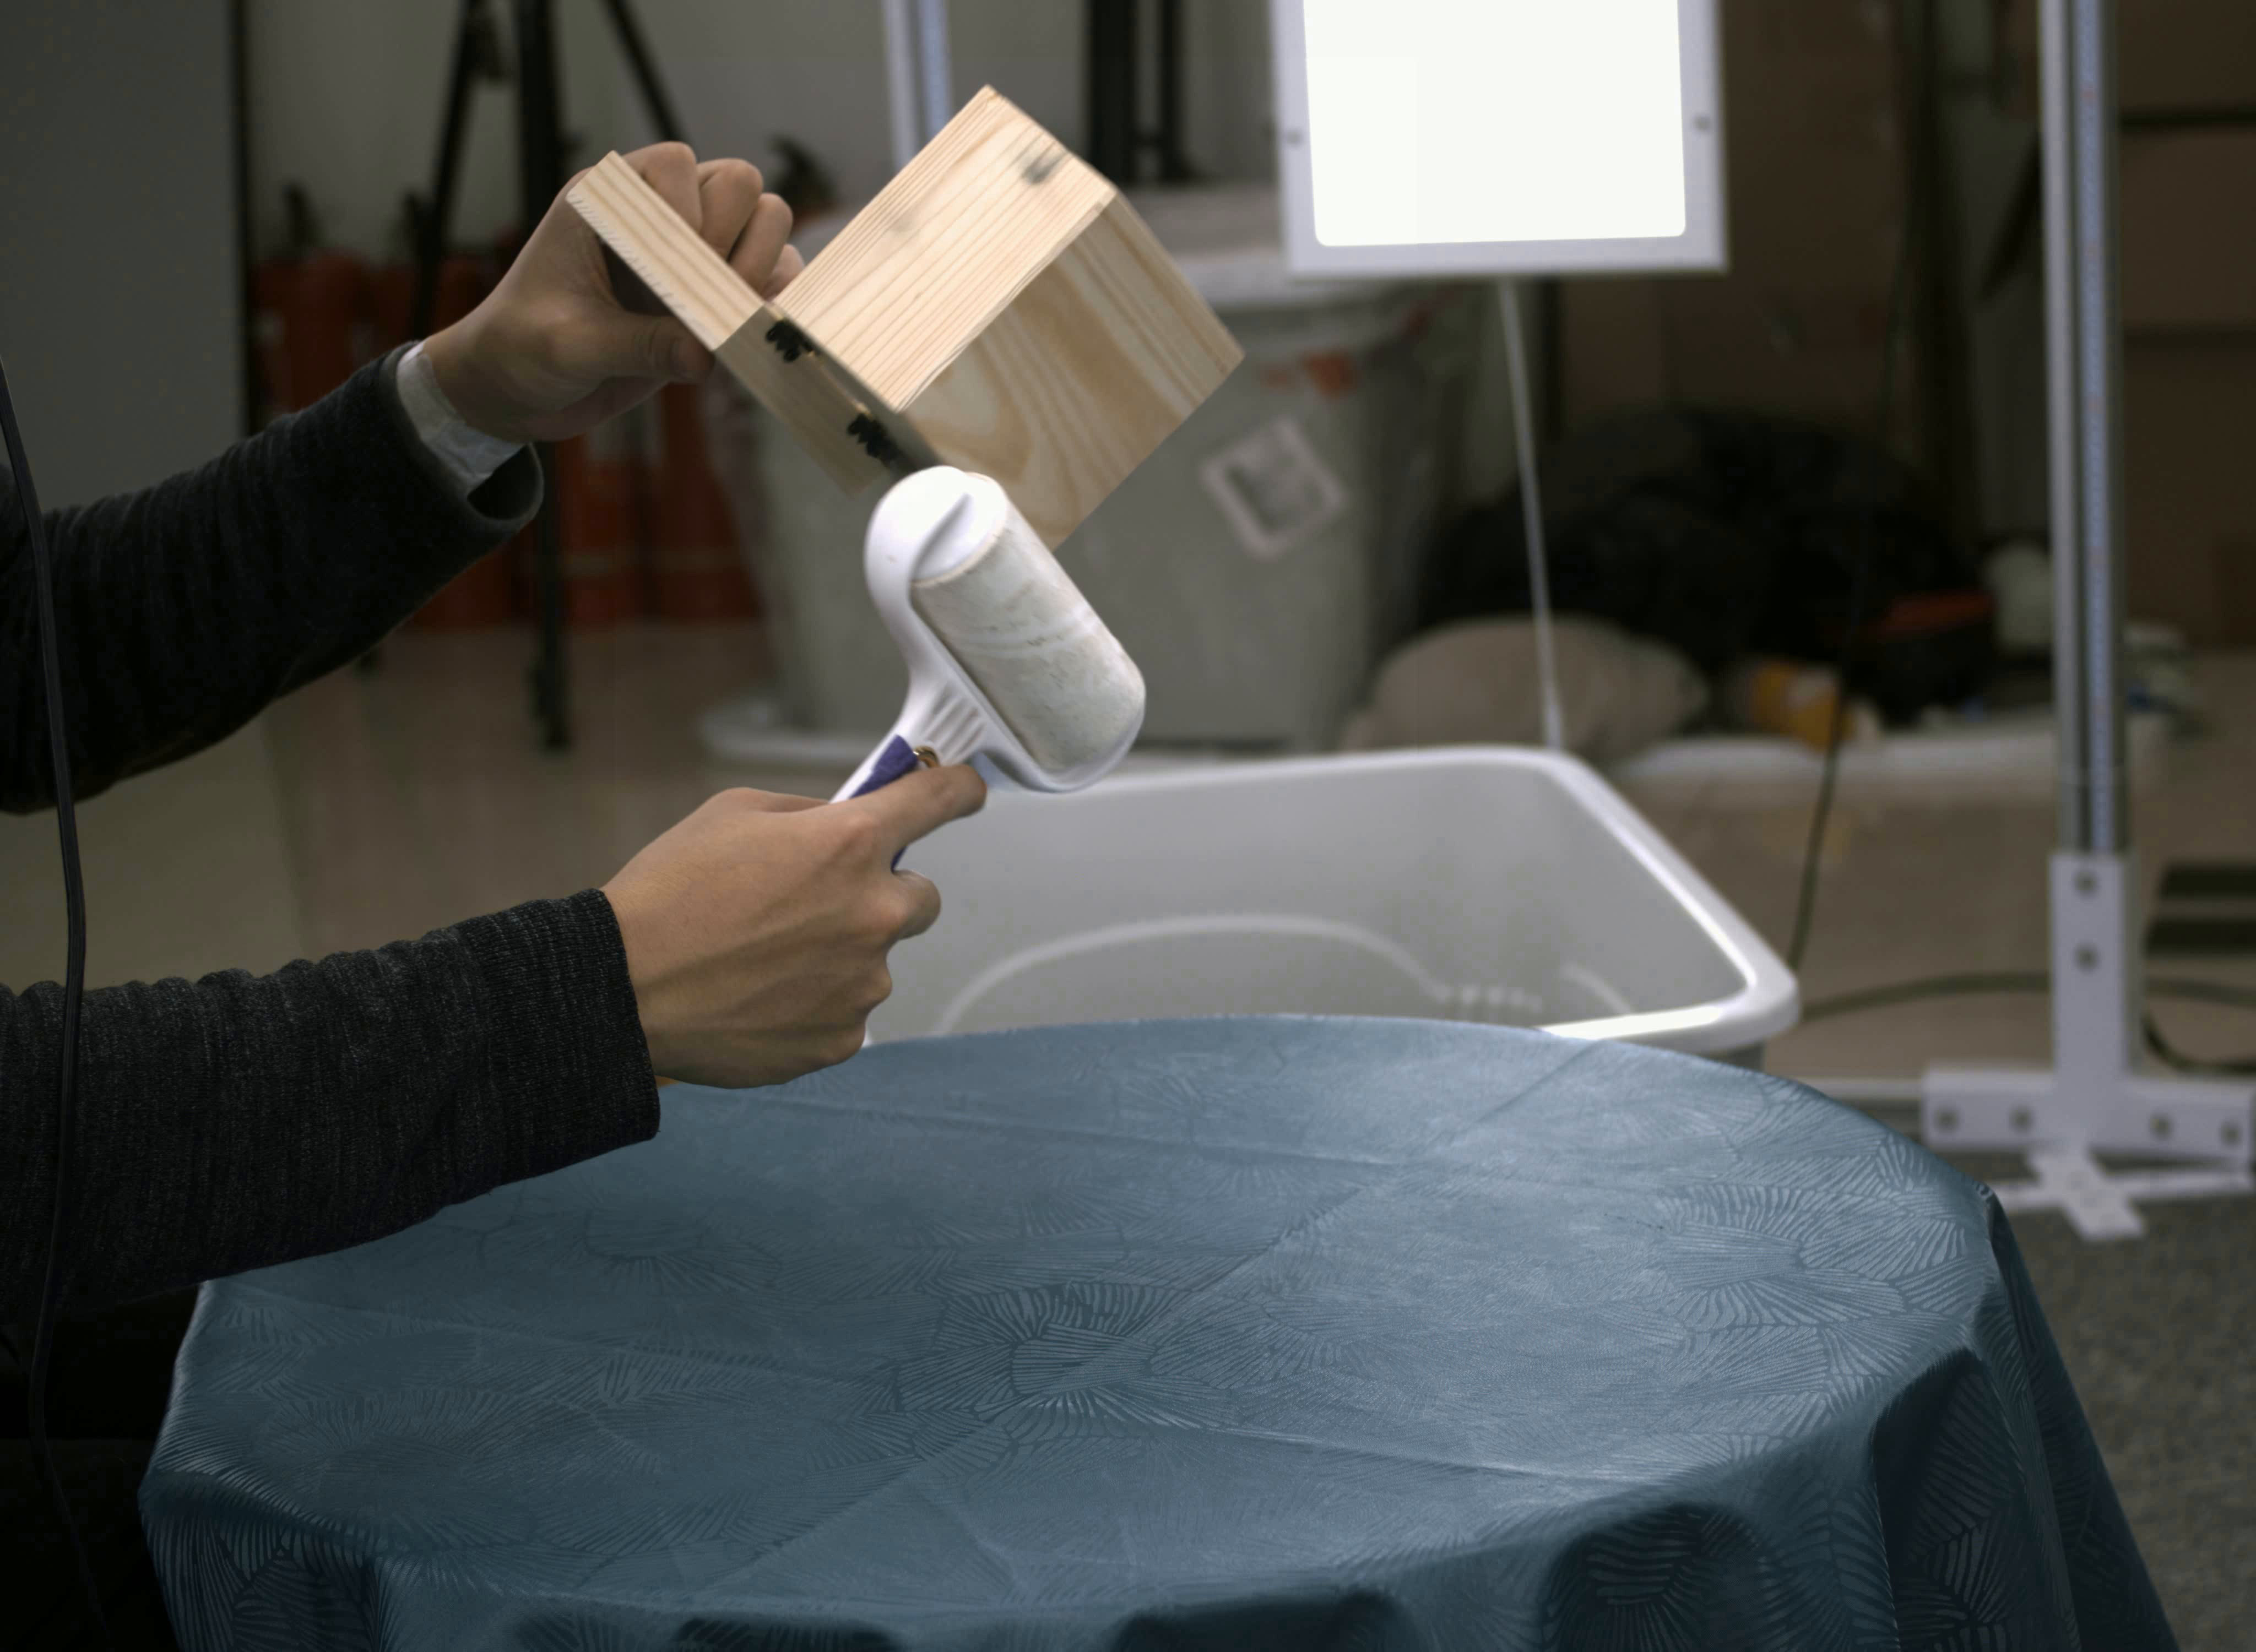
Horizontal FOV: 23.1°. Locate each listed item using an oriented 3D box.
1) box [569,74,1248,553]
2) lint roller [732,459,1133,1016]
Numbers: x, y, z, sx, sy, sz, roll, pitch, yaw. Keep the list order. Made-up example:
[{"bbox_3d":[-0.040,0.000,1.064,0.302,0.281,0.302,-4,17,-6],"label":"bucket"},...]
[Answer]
[{"bbox_3d":[-0.074,-0.189,1.848,0.134,0.101,0.187,-47,50,-2],"label":"box"},{"bbox_3d":[-0.069,-0.016,1.748,0.051,0.131,0.179,8,59,38],"label":"lint roller"}]
